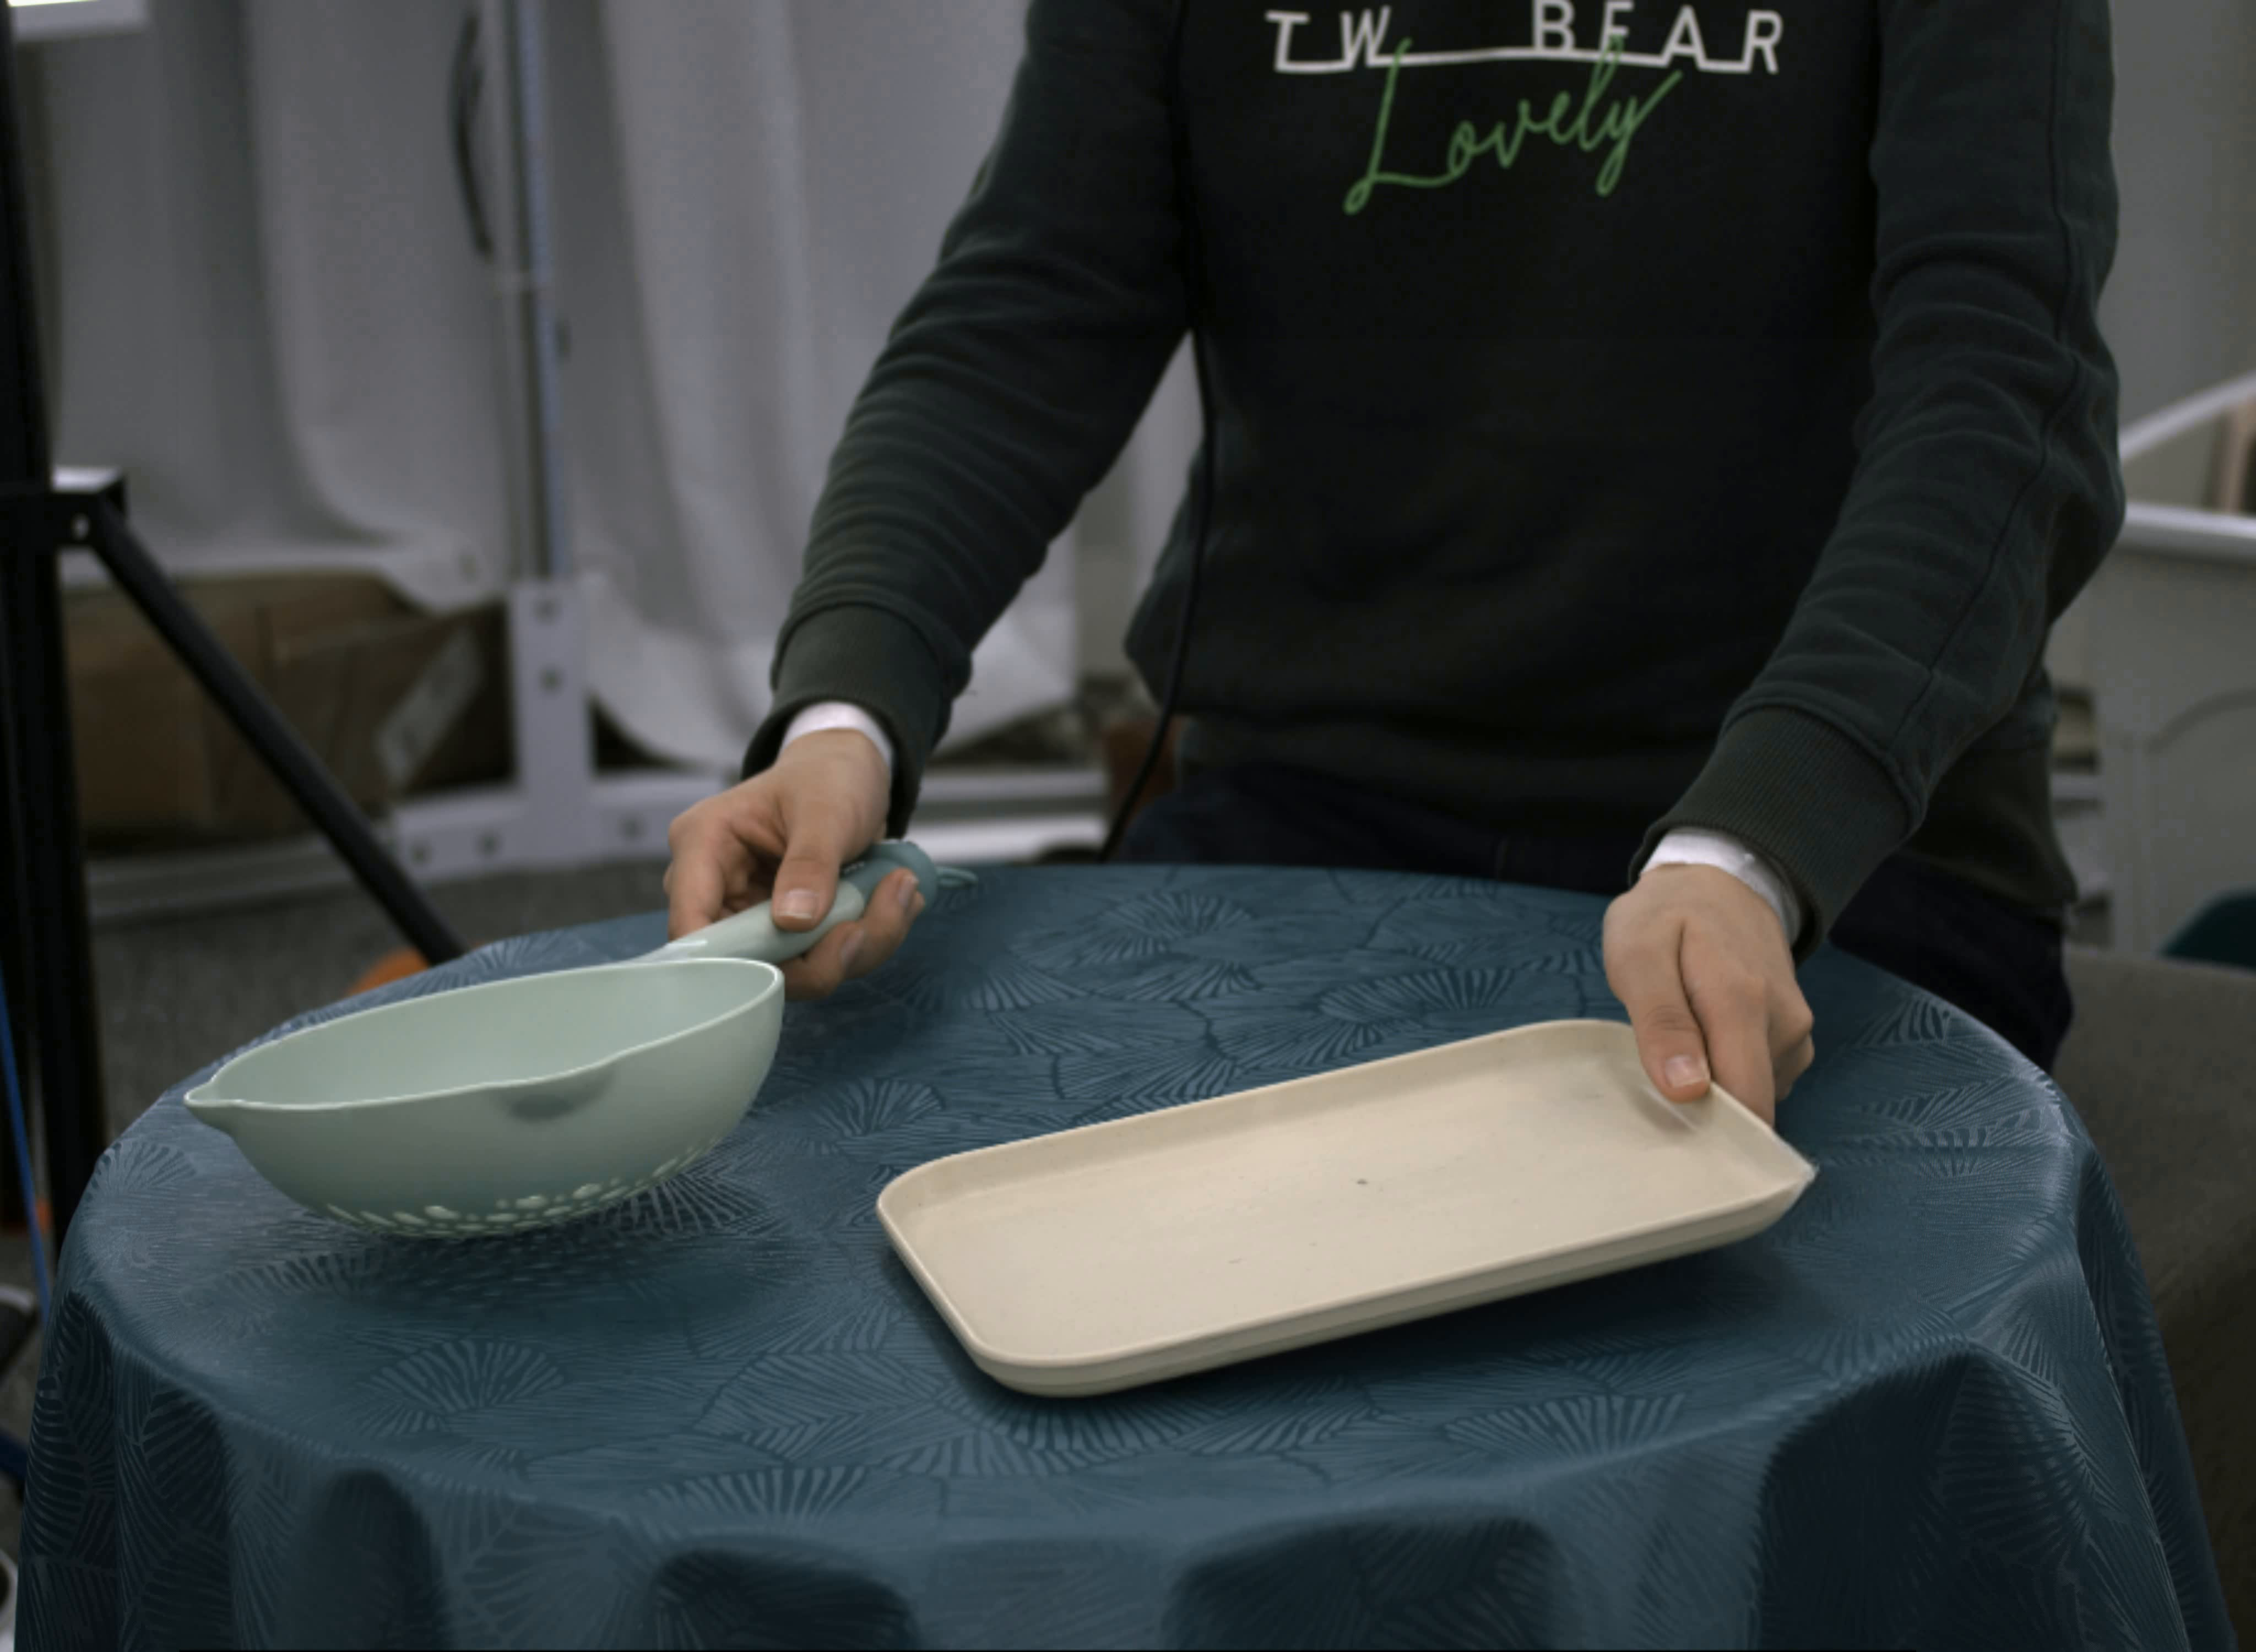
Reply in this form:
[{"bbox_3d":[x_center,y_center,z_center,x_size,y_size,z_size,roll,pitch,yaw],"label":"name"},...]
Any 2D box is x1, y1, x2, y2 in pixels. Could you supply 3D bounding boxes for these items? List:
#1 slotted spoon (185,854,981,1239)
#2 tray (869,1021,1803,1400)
[{"bbox_3d":[-0.137,0.052,1.631,0.172,0.075,0.354,-5,17,28],"label":"slotted spoon"},{"bbox_3d":[0.057,0.107,1.483,0.236,0.017,0.174,-12,18,-12],"label":"tray"}]
